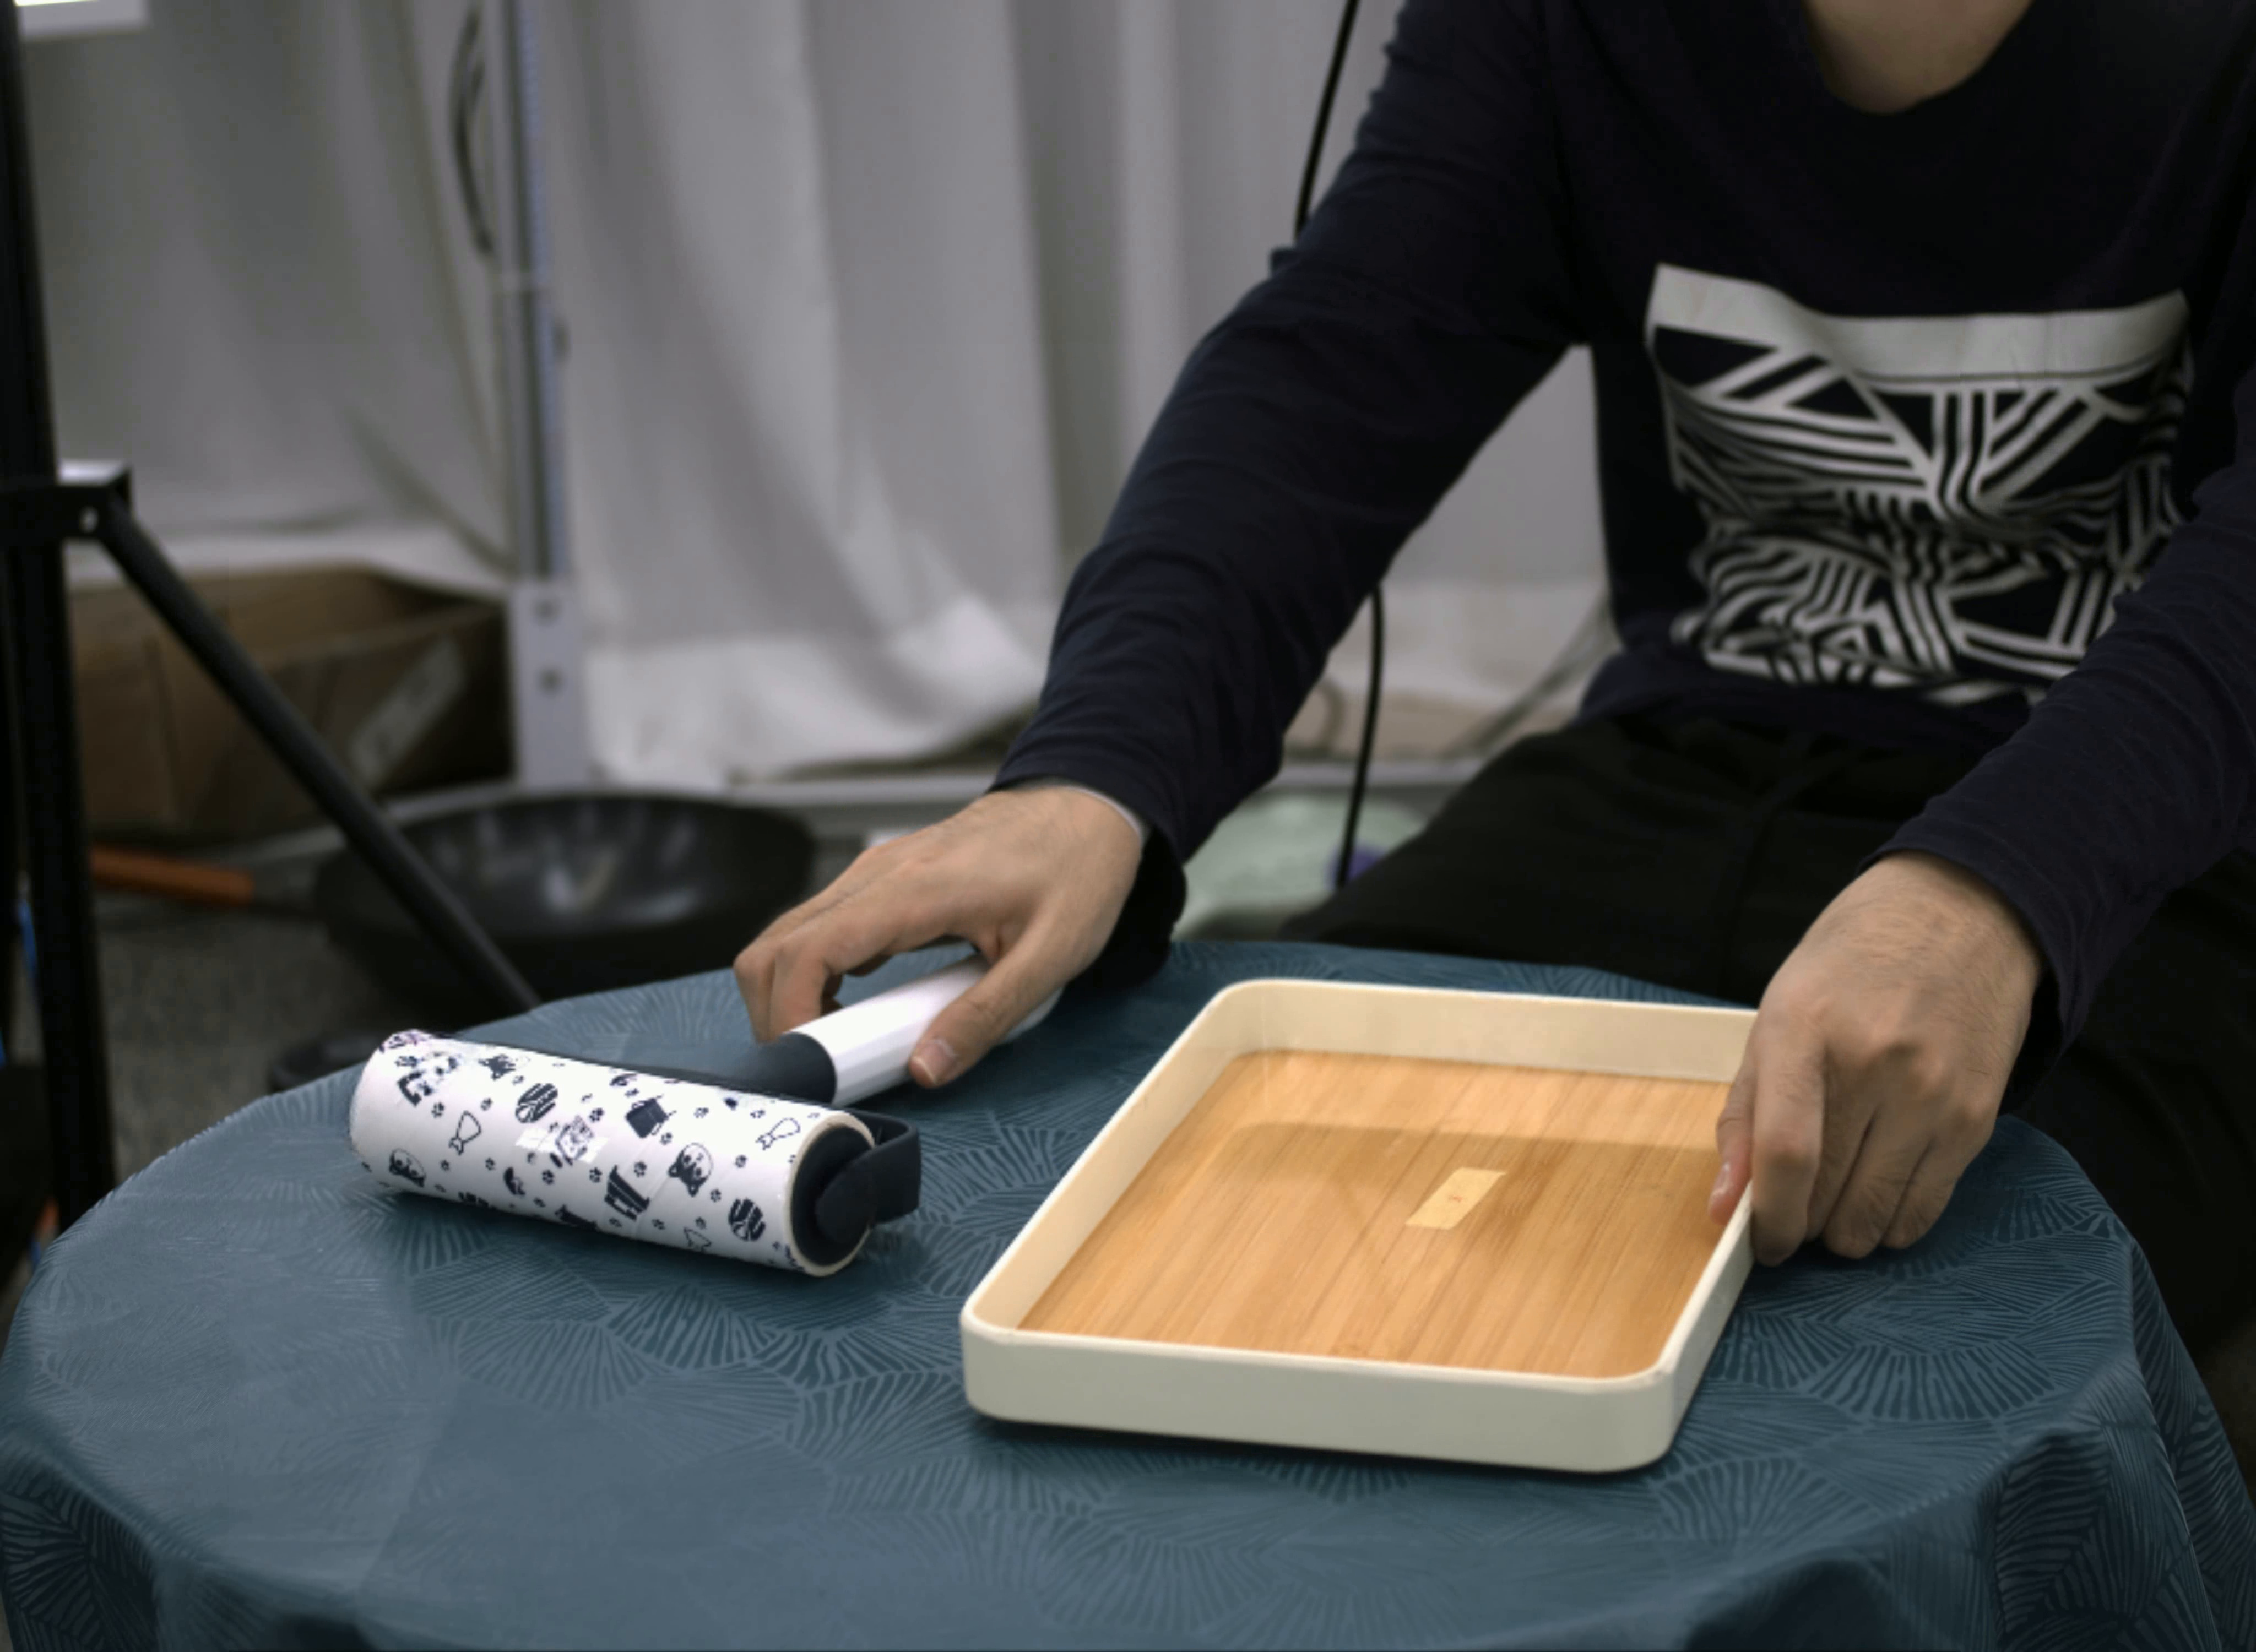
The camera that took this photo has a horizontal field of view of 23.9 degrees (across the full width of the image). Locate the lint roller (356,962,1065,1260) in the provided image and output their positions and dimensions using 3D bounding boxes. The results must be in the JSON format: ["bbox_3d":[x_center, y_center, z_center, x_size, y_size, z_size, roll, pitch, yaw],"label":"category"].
[{"bbox_3d":[-0.095,0.071,1.628,0.180,0.050,0.242,7,16,33],"label":"lint roller"}]

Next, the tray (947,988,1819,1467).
[{"bbox_3d":[0.080,0.107,1.486,0.193,0.027,0.297,1,17,17],"label":"tray"}]
